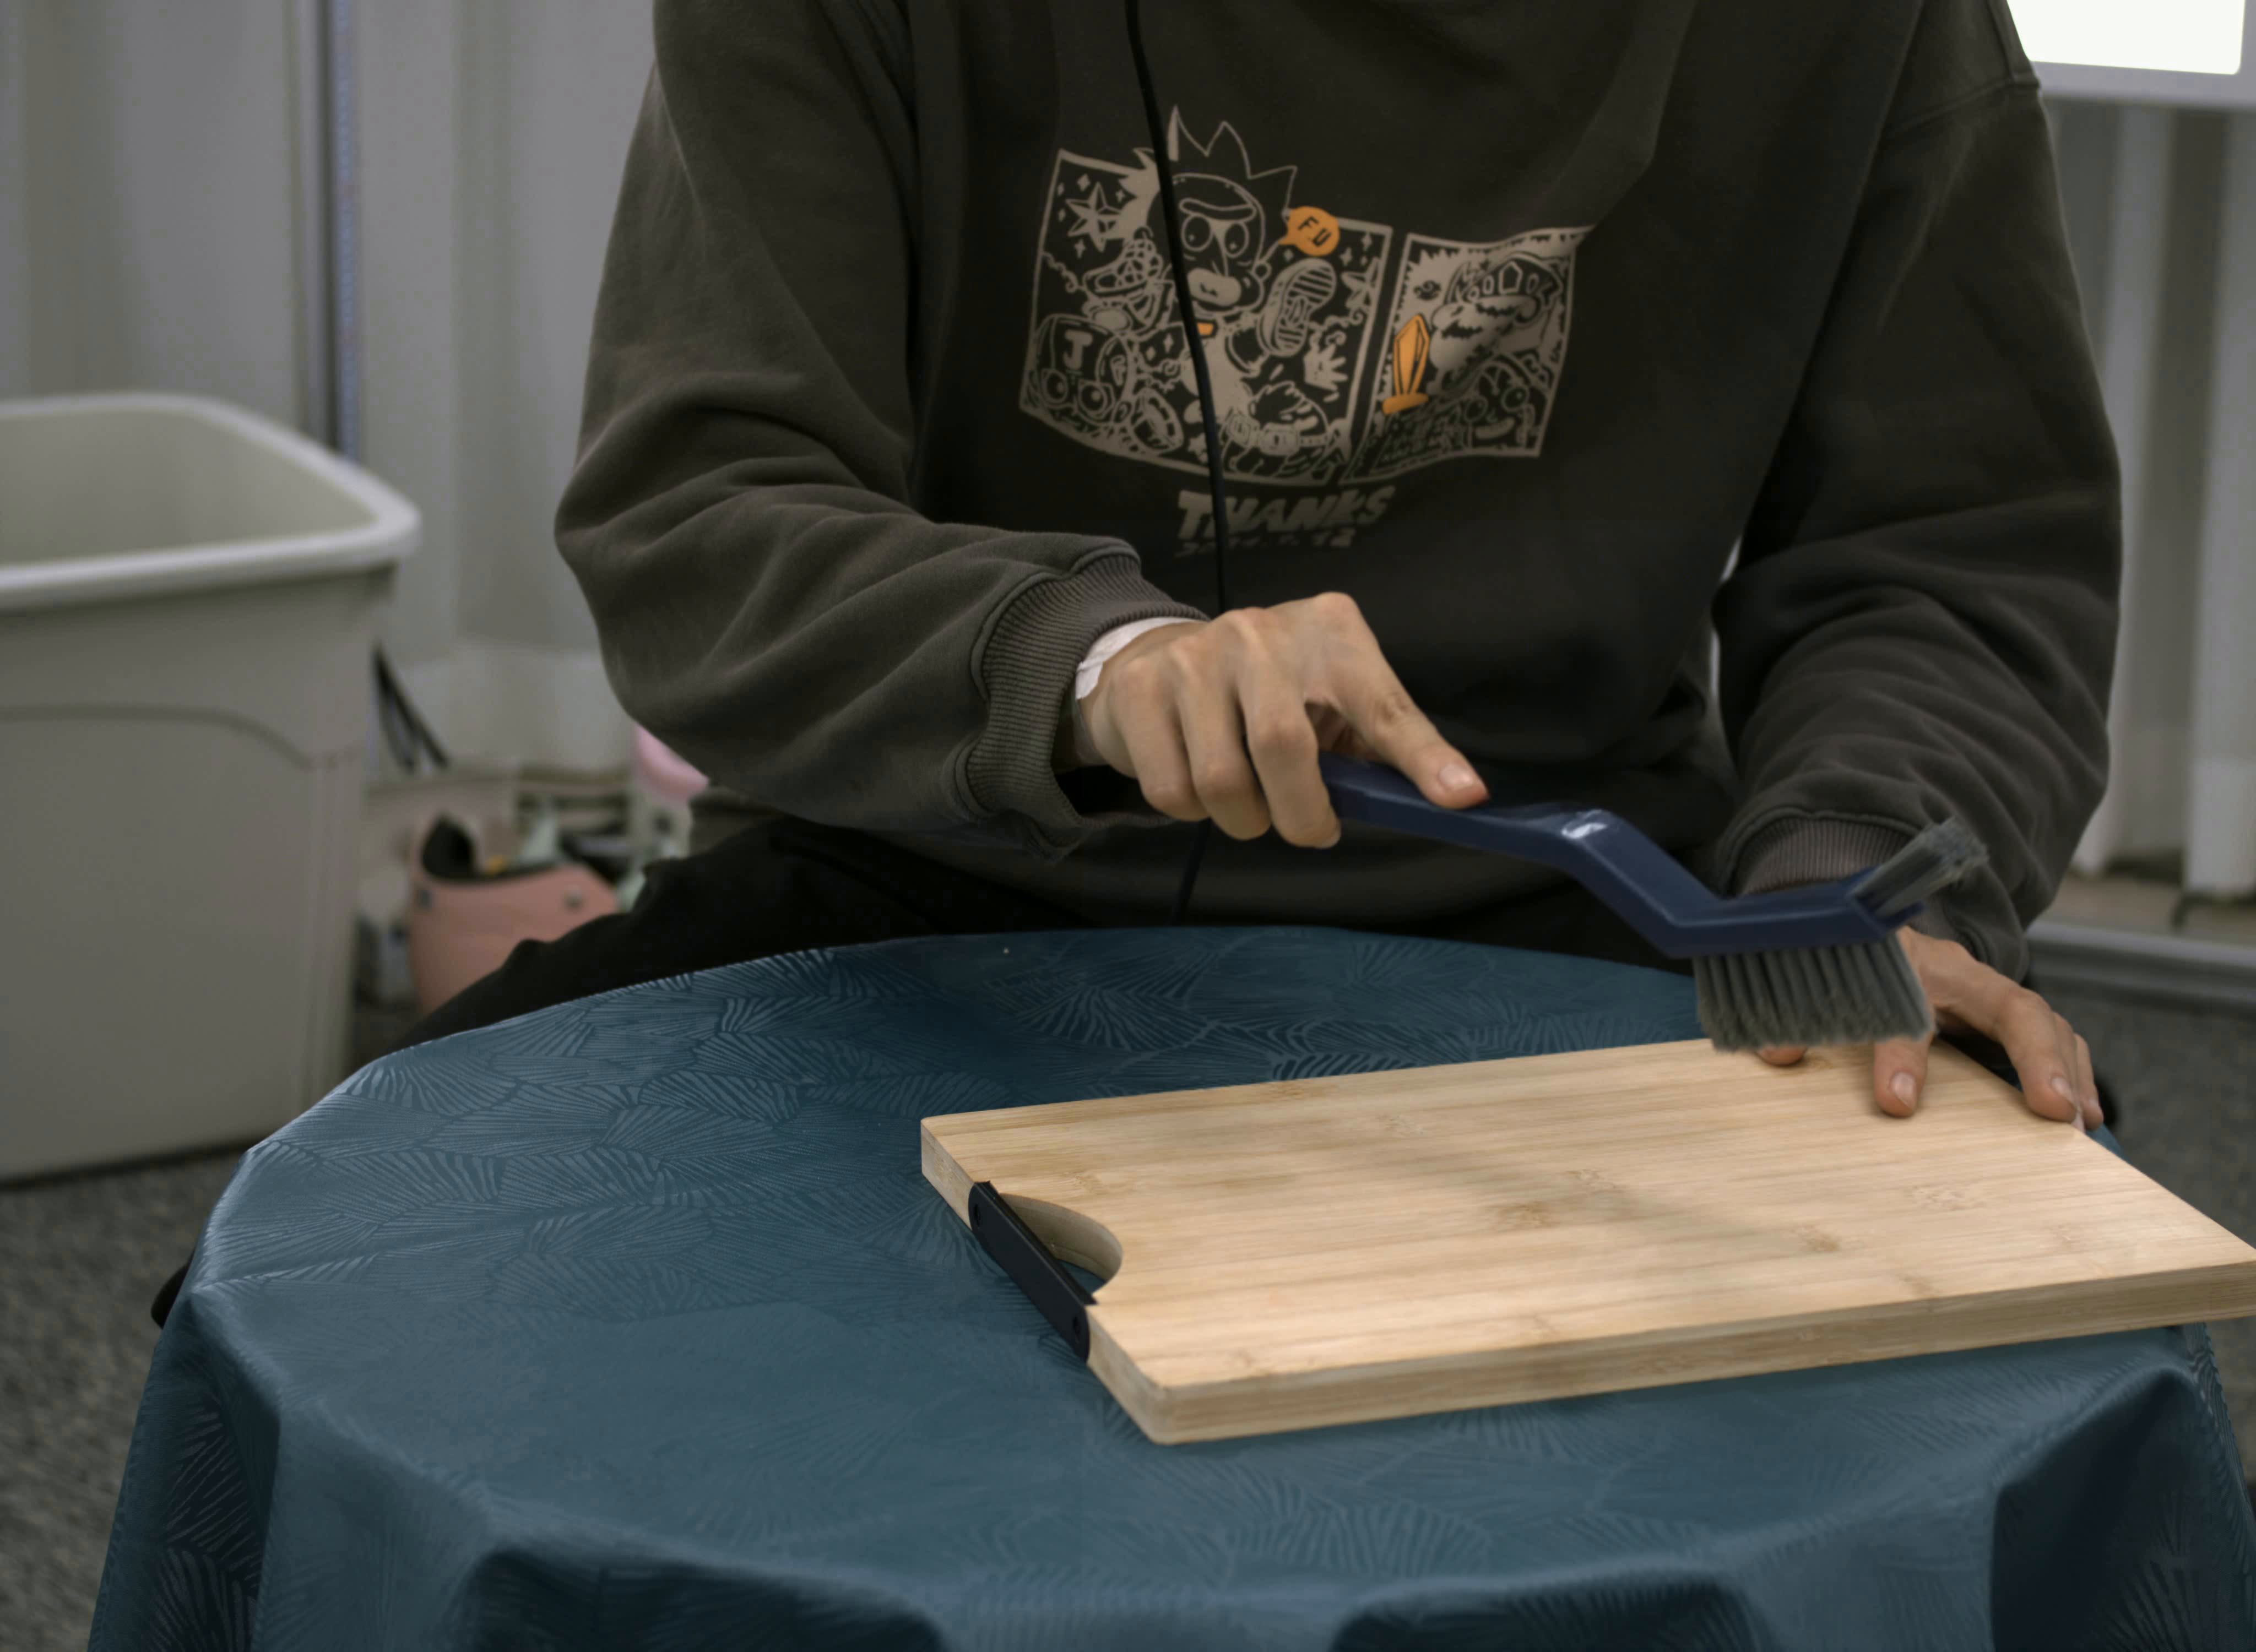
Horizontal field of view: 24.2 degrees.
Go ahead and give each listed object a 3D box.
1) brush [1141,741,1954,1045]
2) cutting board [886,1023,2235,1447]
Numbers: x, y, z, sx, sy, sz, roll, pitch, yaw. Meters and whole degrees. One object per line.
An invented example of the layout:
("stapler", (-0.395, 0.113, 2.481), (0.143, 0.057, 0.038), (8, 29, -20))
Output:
("brush", (0.119, -0.003, 1.553), (0.269, 0.097, 0.033), (22, 35, 31))
("cutting board", (0.126, 0.118, 1.586), (0.349, 0.024, 0.248), (-5, 16, -19))
